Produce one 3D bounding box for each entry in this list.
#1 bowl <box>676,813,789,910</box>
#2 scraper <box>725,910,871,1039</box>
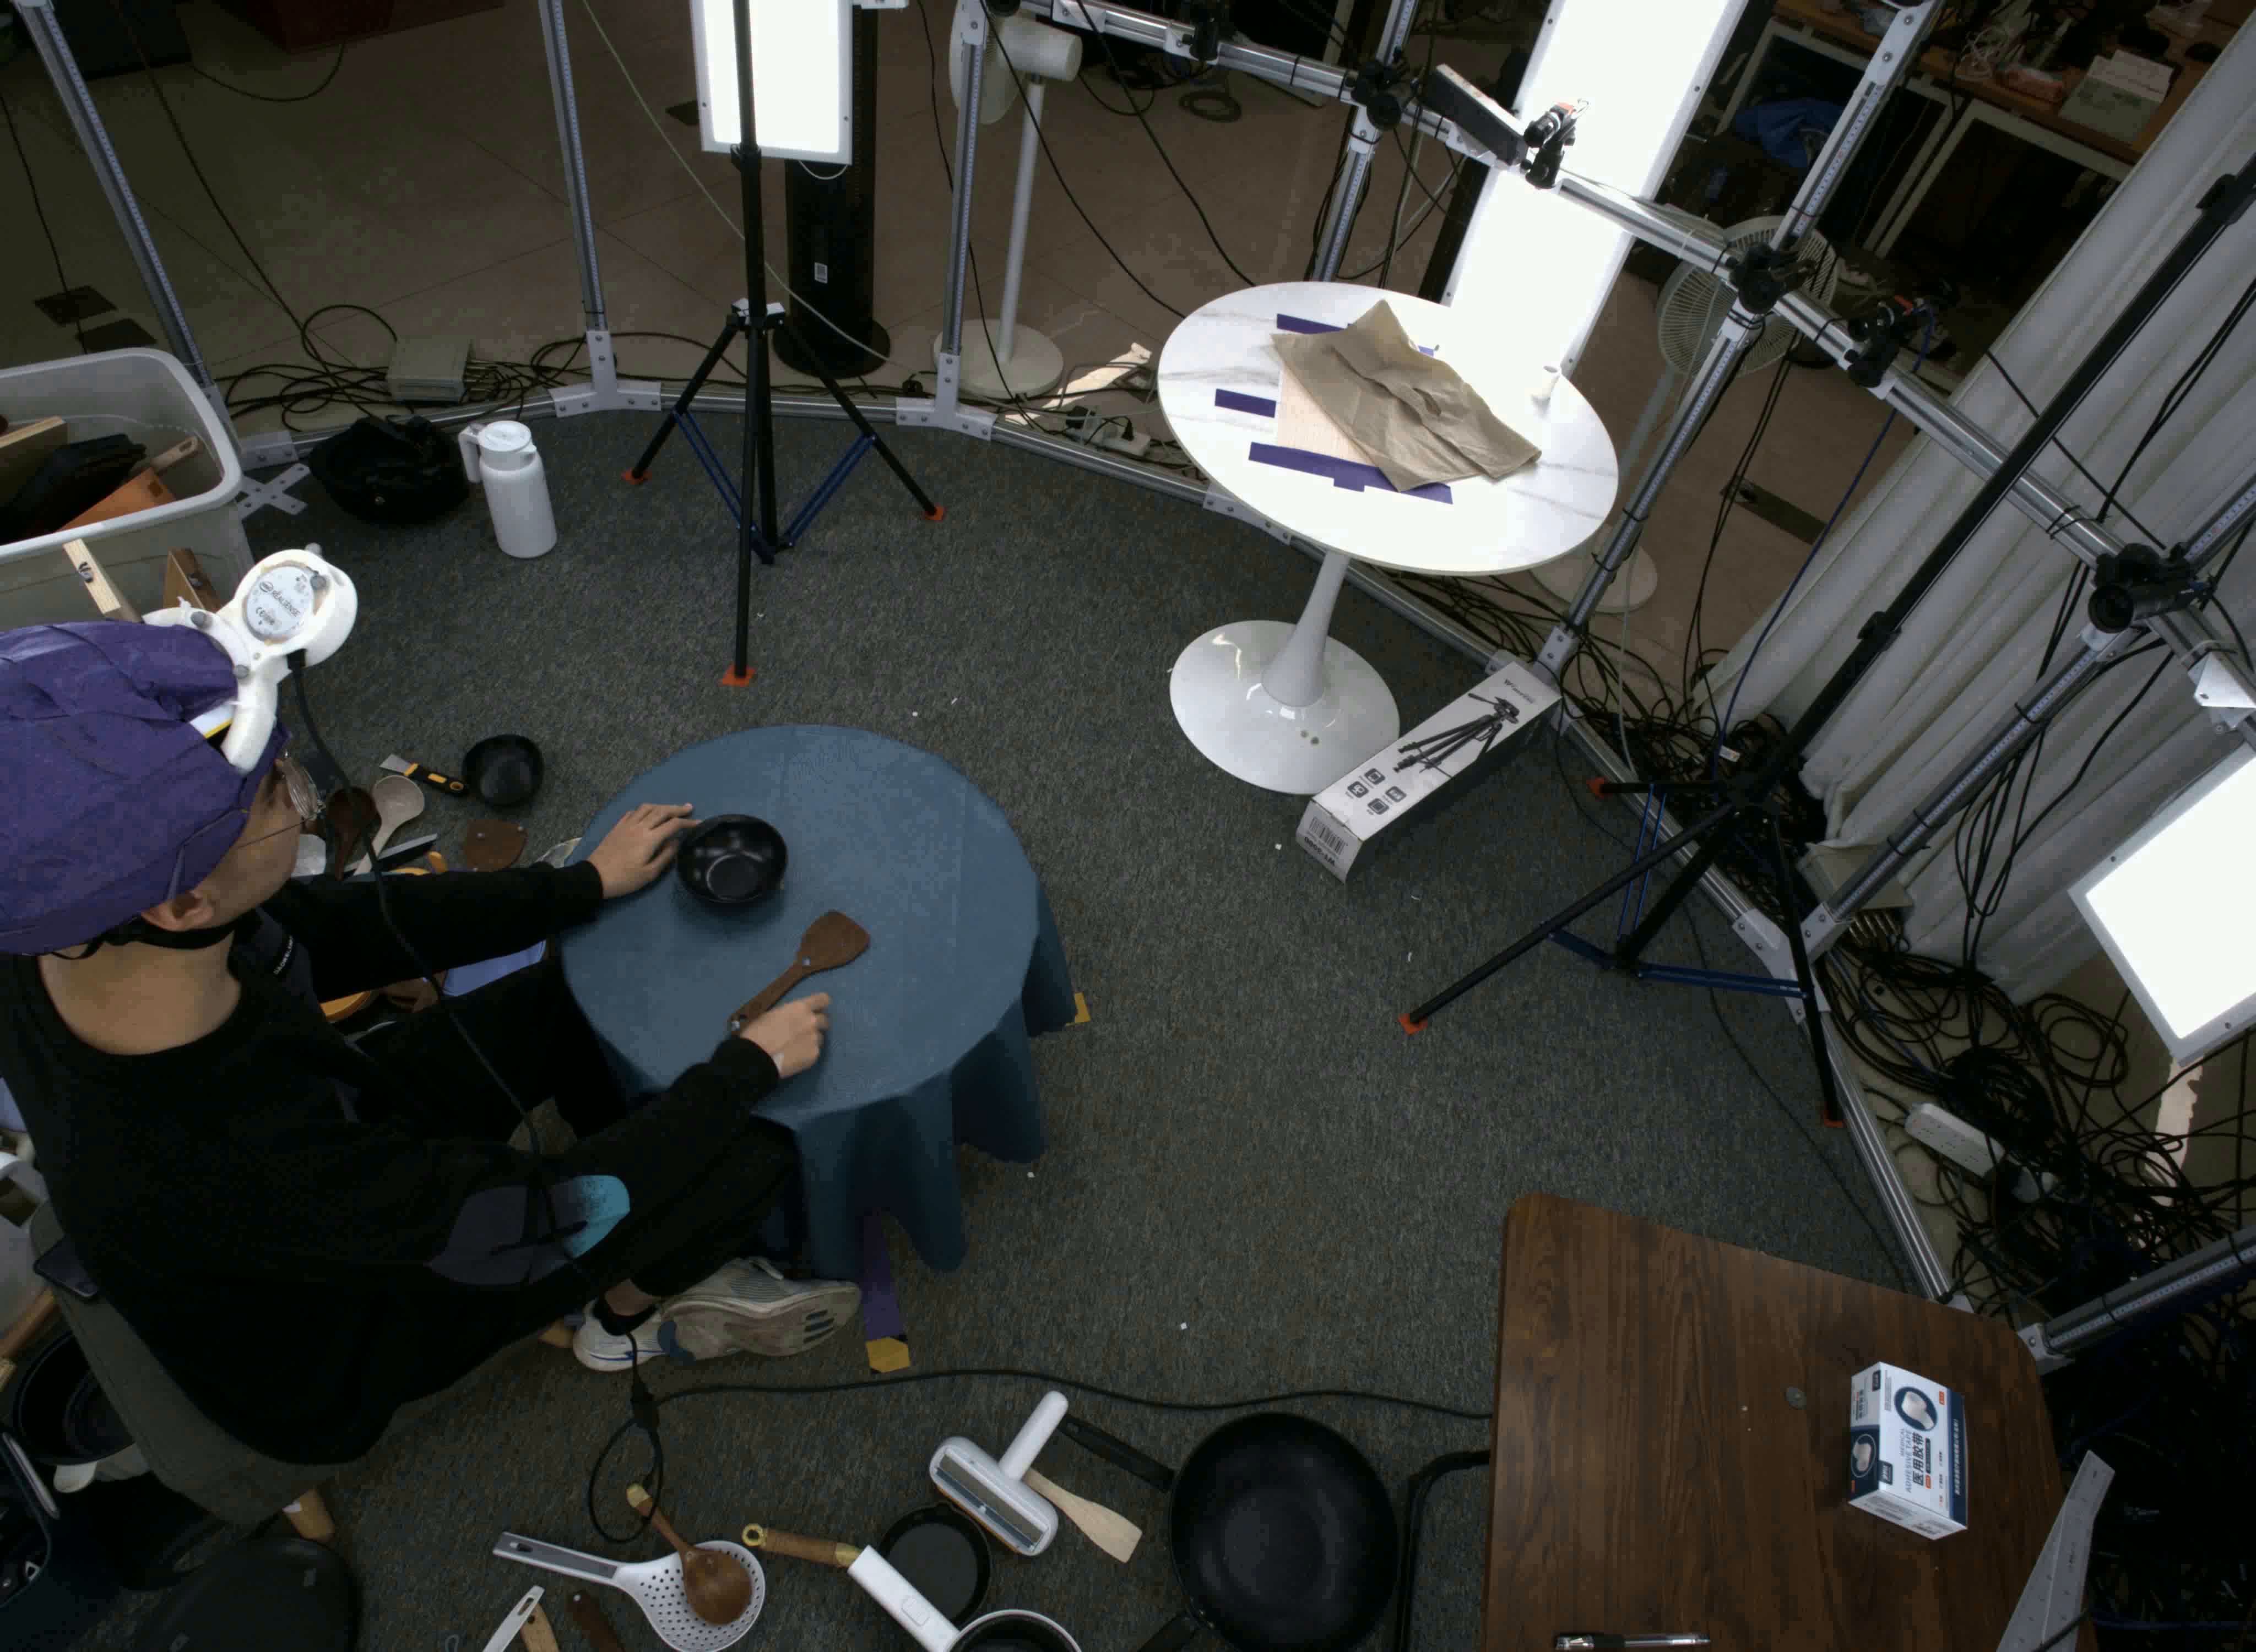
[{"bbox_3d":[-0.501,0.051,1.639,0.140,0.050,0.137,10,53,-11],"label":"bowl"},{"bbox_3d":[-0.410,0.183,1.591,0.074,0.011,0.211,35,54,14],"label":"scraper"}]
